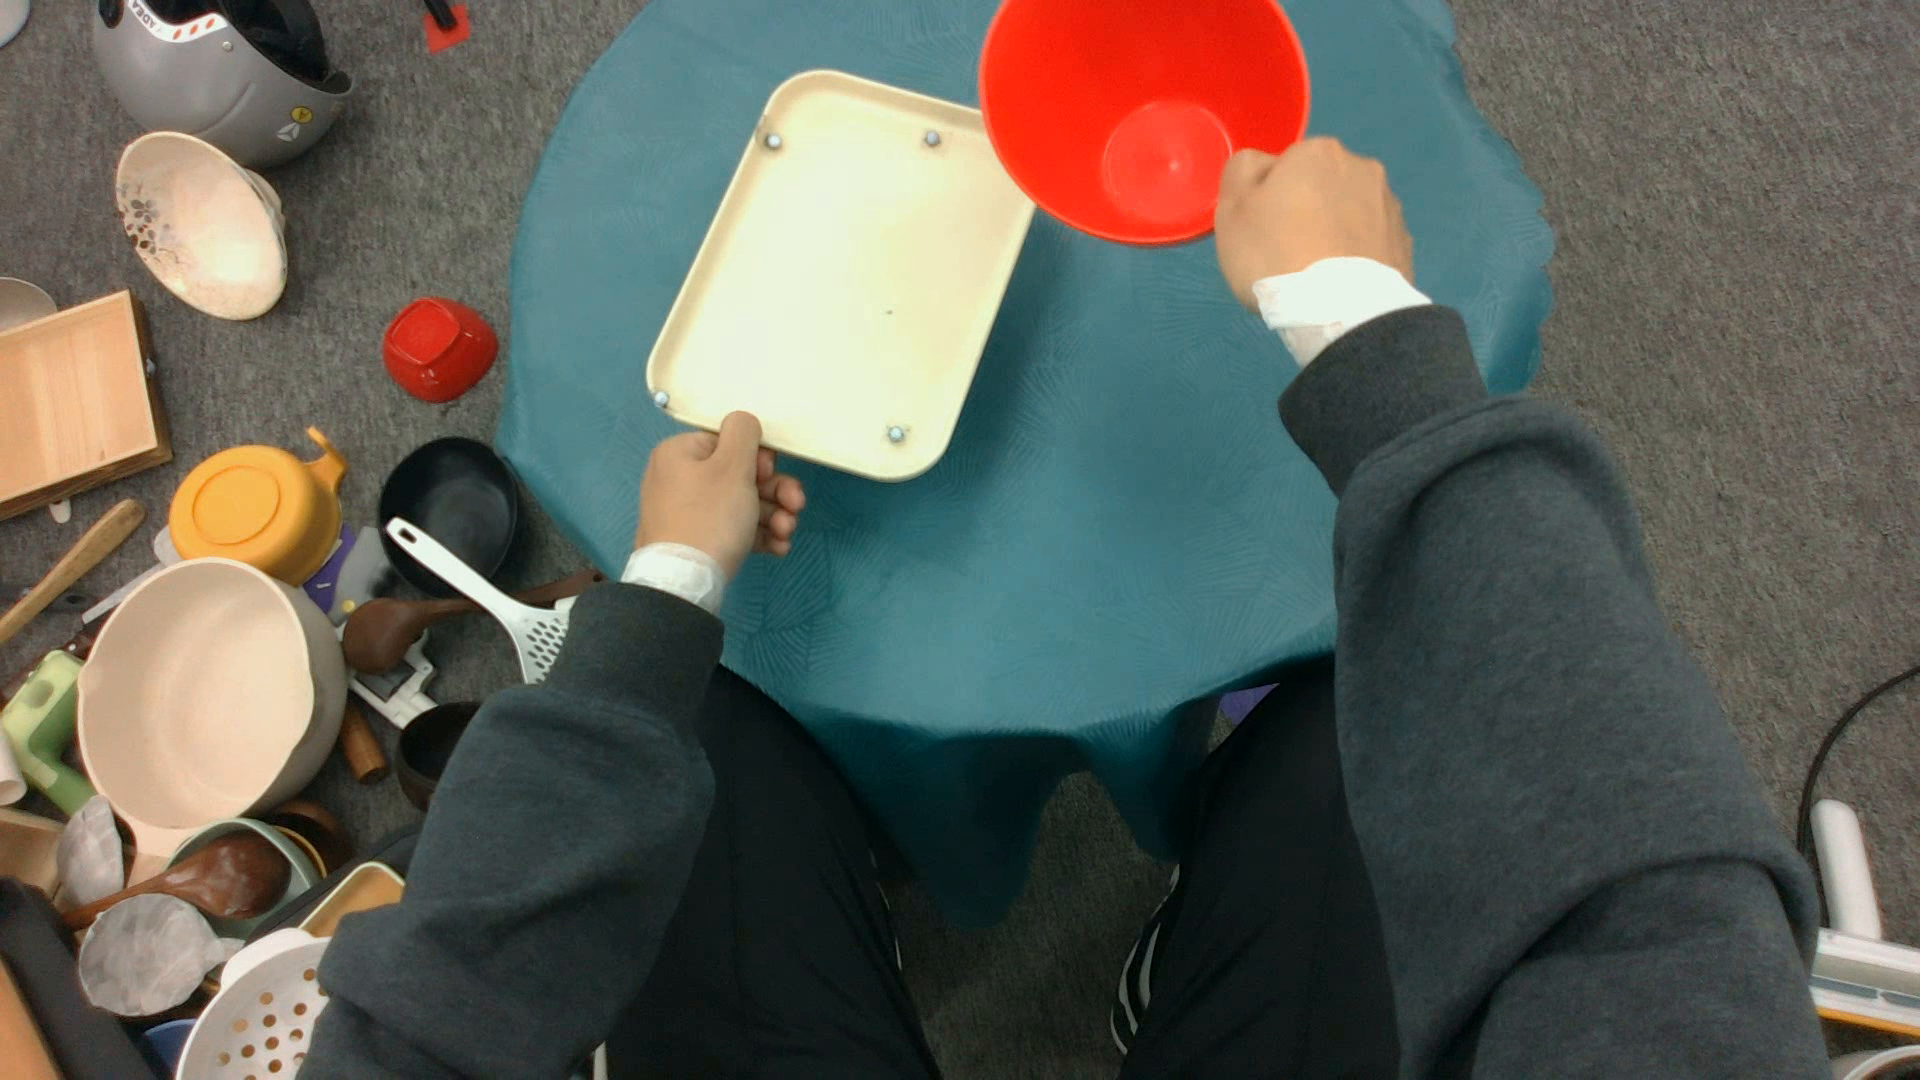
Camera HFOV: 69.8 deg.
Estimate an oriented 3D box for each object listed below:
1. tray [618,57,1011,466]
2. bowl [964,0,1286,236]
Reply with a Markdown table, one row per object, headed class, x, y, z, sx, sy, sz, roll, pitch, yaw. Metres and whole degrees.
| class | x | y | z | sx | sy | sz | roll | pitch | yaw |
| --- | --- | --- | --- | --- | --- | --- | --- | --- | --- |
| tray | -0.075 | -0.159 | 0.768 | 0.171 | 0.017 | 0.240 | 16 | 69 | 5 |
| bowl | 0.080 | -0.206 | 0.673 | 0.148 | 0.104 | 0.148 | -1 | 79 | 6 |
